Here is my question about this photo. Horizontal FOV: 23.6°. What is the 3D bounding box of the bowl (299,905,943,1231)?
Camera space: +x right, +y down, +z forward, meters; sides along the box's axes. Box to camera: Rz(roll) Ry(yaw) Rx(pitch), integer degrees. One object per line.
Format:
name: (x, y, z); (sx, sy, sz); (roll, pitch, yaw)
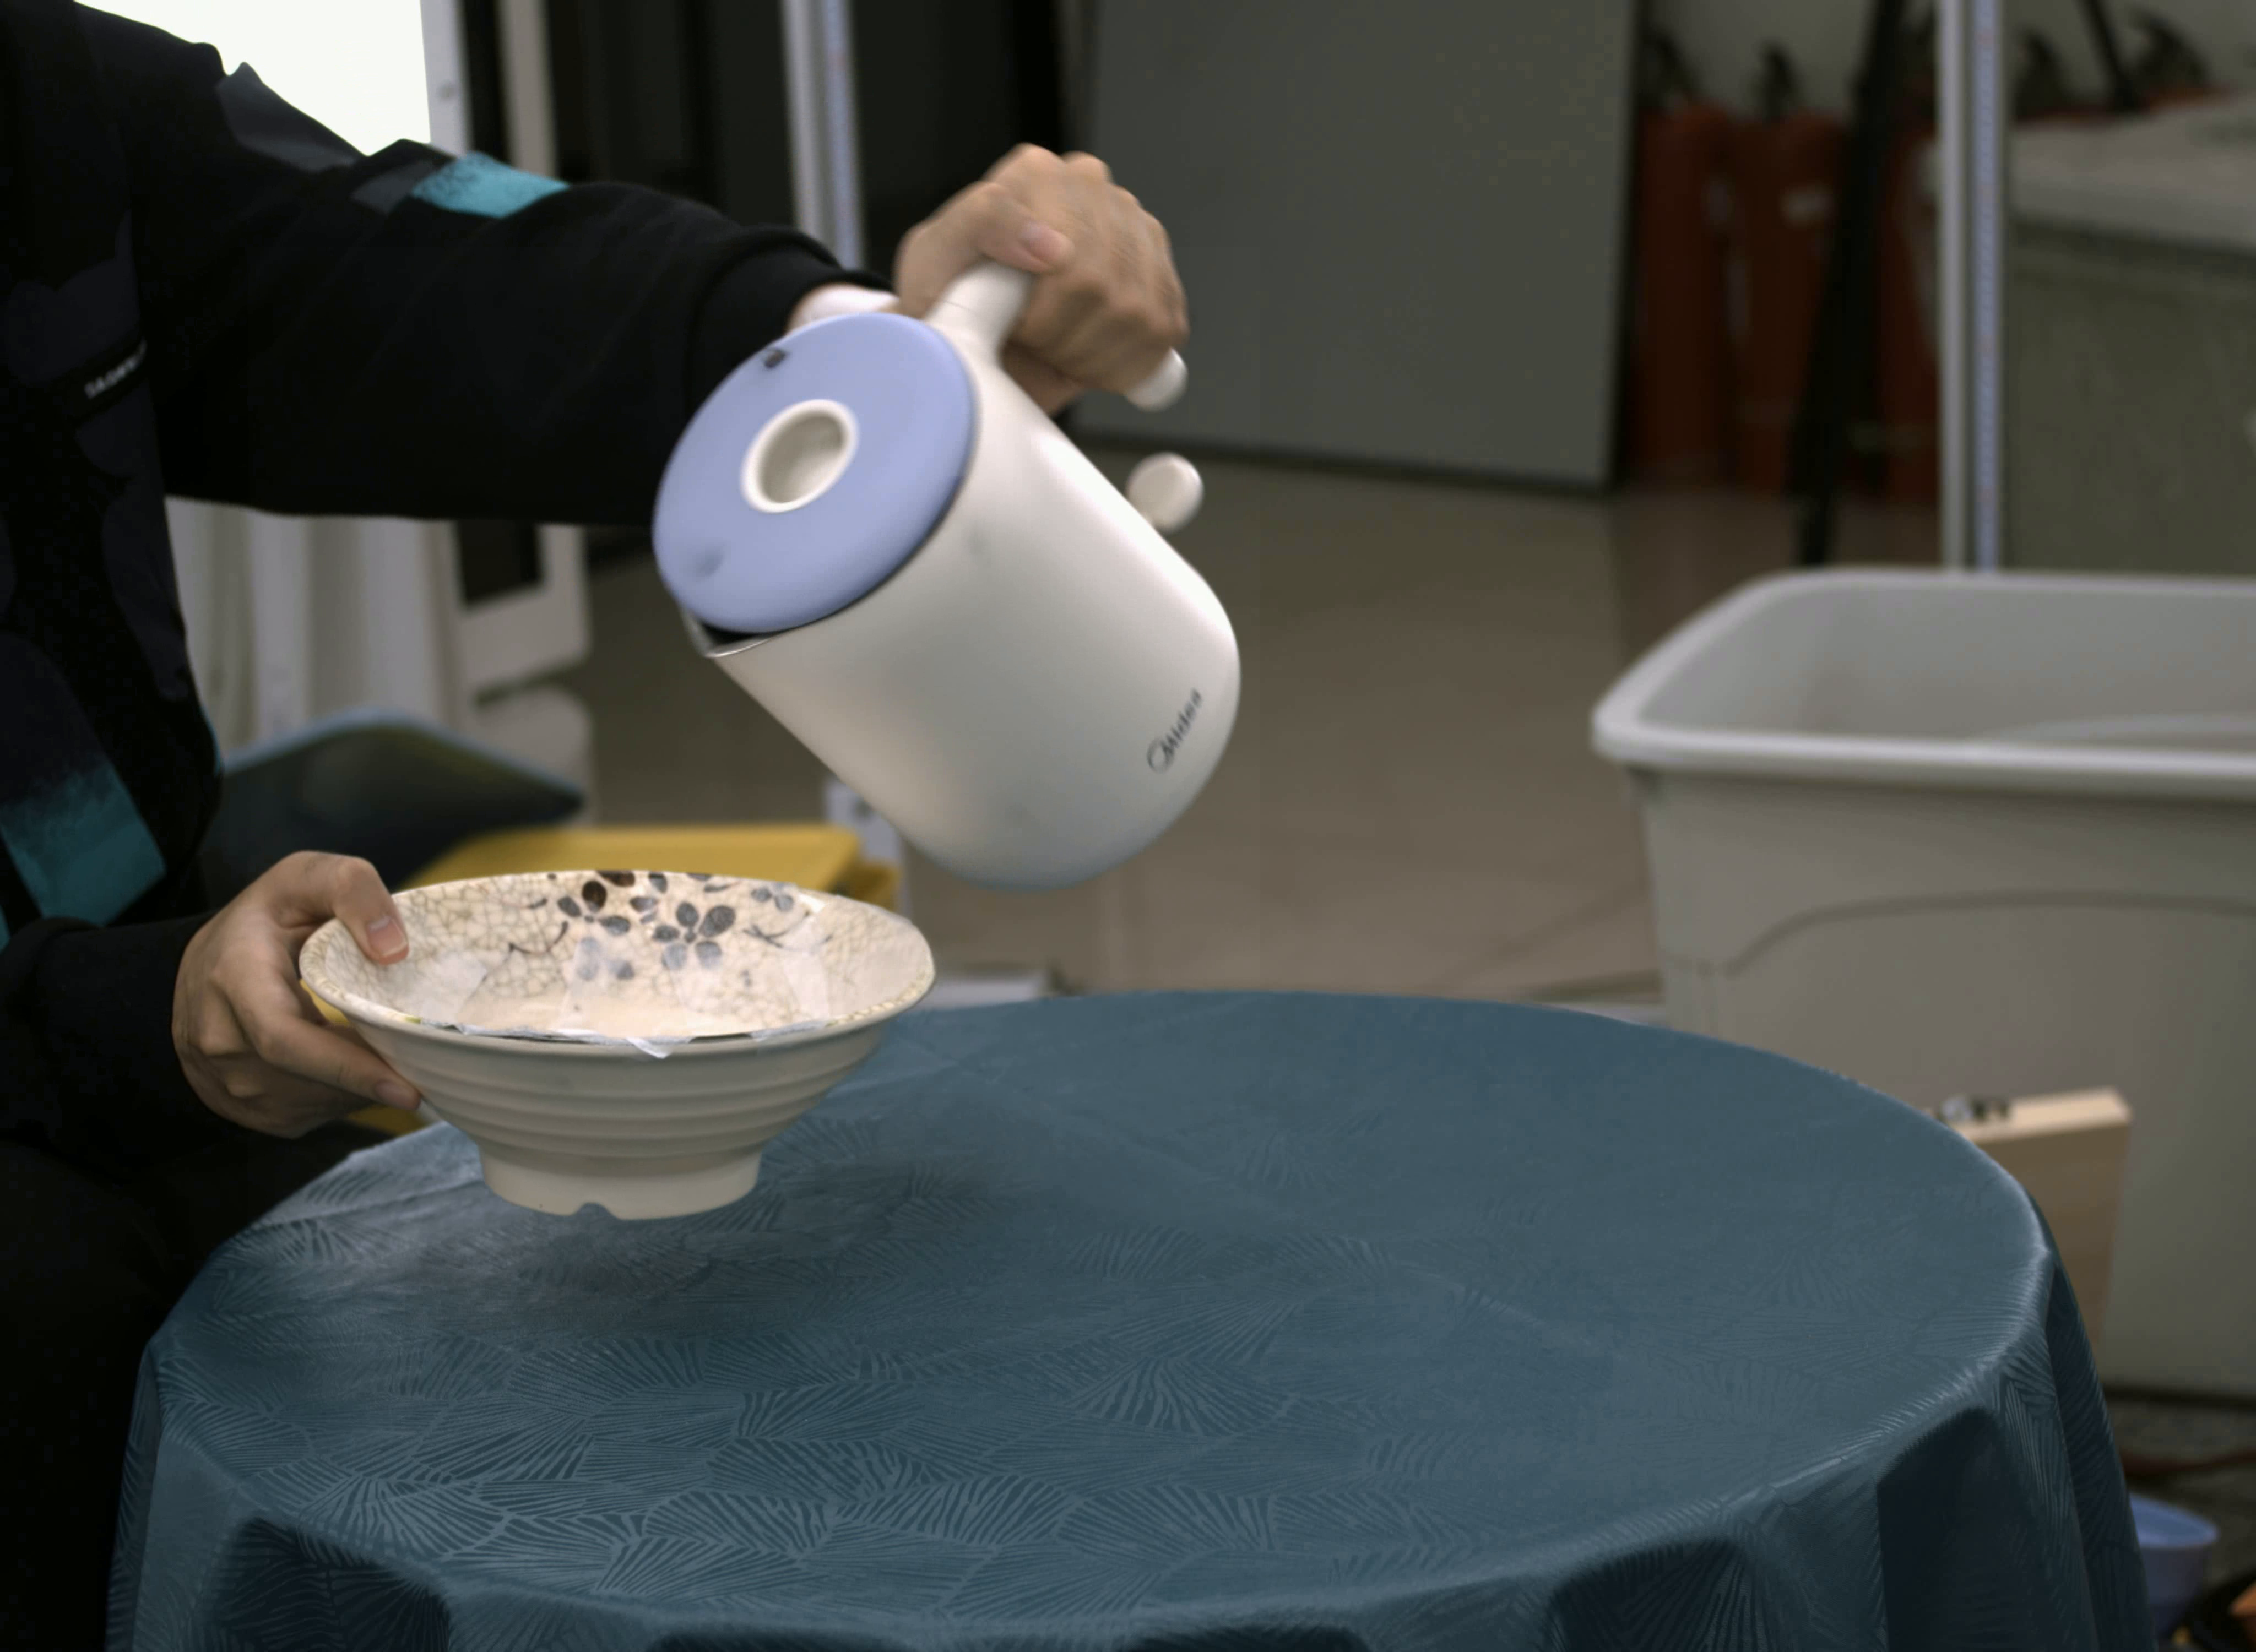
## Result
bowl: (-0.157, 0.080, 1.702); (0.201, 0.079, 0.204); (-2, 9, -1)

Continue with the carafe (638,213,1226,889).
carafe: (-0.051, -0.096, 1.742); (0.133, 0.191, 0.180); (15, -22, 41)
